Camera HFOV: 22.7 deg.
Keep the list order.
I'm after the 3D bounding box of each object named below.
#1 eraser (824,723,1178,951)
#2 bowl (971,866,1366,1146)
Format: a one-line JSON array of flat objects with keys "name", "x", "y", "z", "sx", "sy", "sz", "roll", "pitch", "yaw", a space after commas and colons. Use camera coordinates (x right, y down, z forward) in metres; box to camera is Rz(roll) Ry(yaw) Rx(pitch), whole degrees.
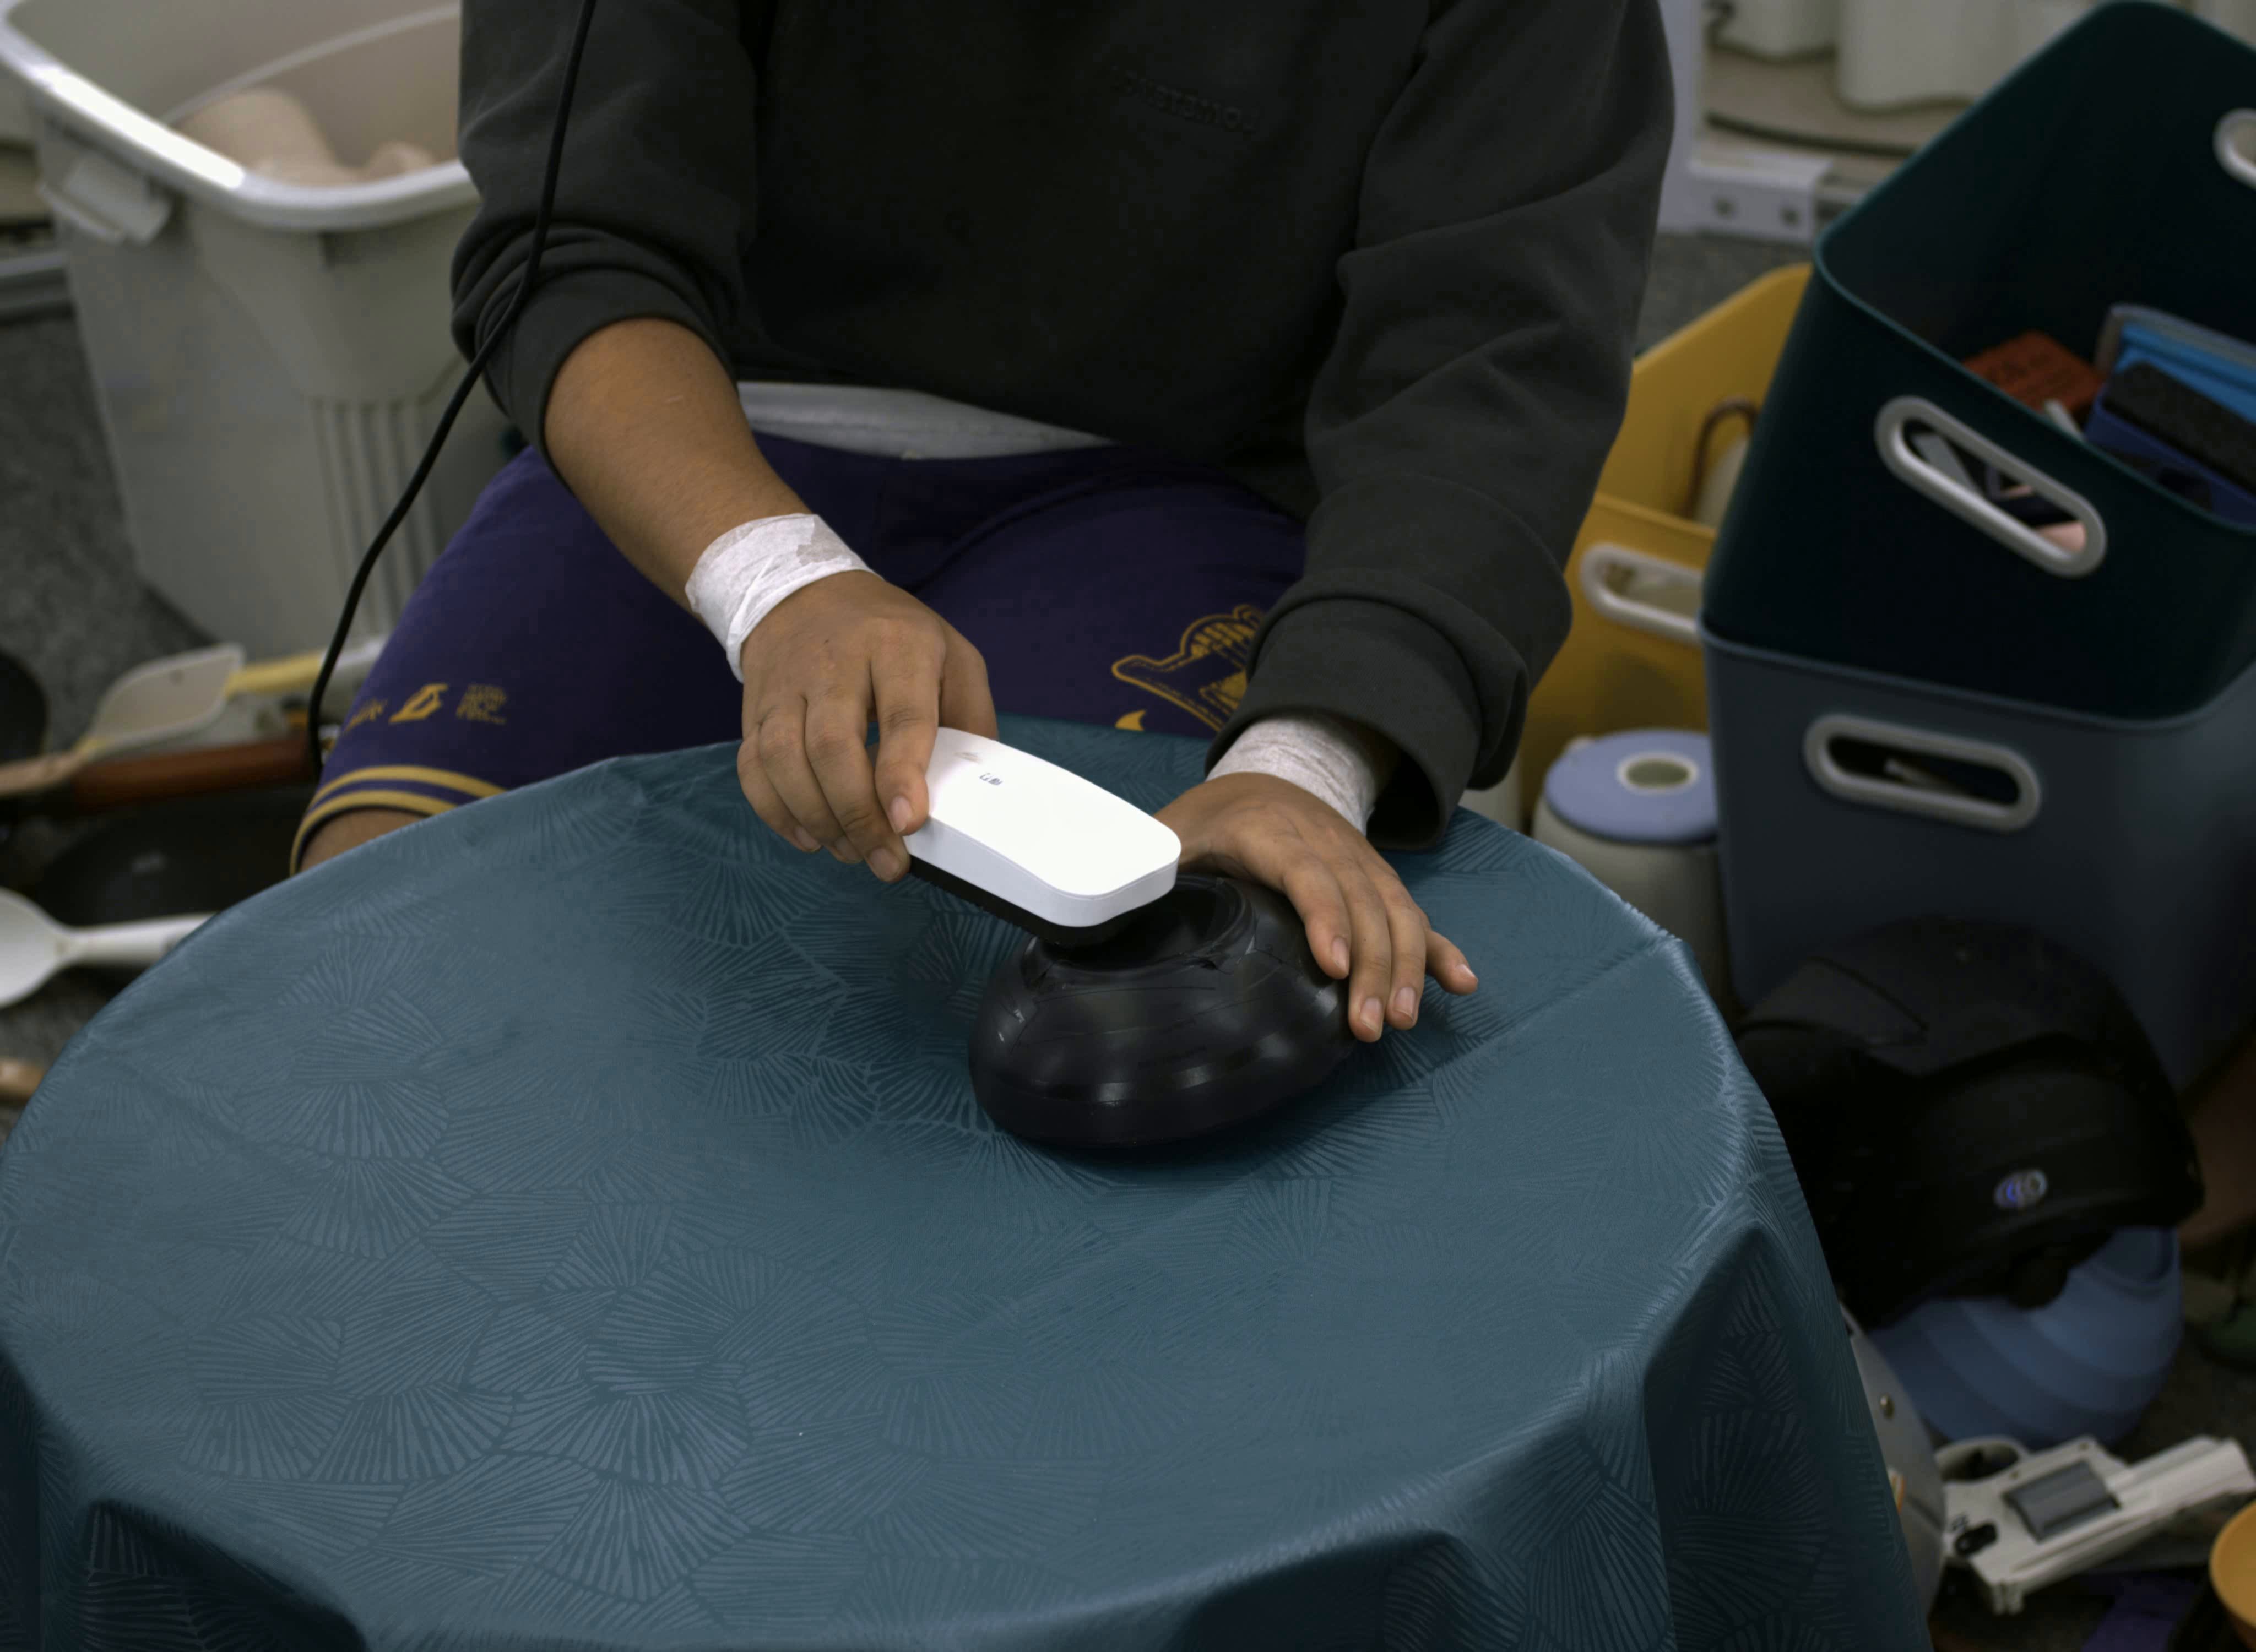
[{"name": "eraser", "x": -0.044, "y": 0.000, "z": 1.936, "sx": 0.131, "sy": 0.034, "sz": 0.064, "roll": 28, "pitch": 34, "yaw": 36}, {"name": "bowl", "x": 0.009, "y": 0.052, "z": 1.918, "sx": 0.139, "sy": 0.049, "sz": 0.142, "roll": -12, "pitch": 26, "yaw": 6}]
